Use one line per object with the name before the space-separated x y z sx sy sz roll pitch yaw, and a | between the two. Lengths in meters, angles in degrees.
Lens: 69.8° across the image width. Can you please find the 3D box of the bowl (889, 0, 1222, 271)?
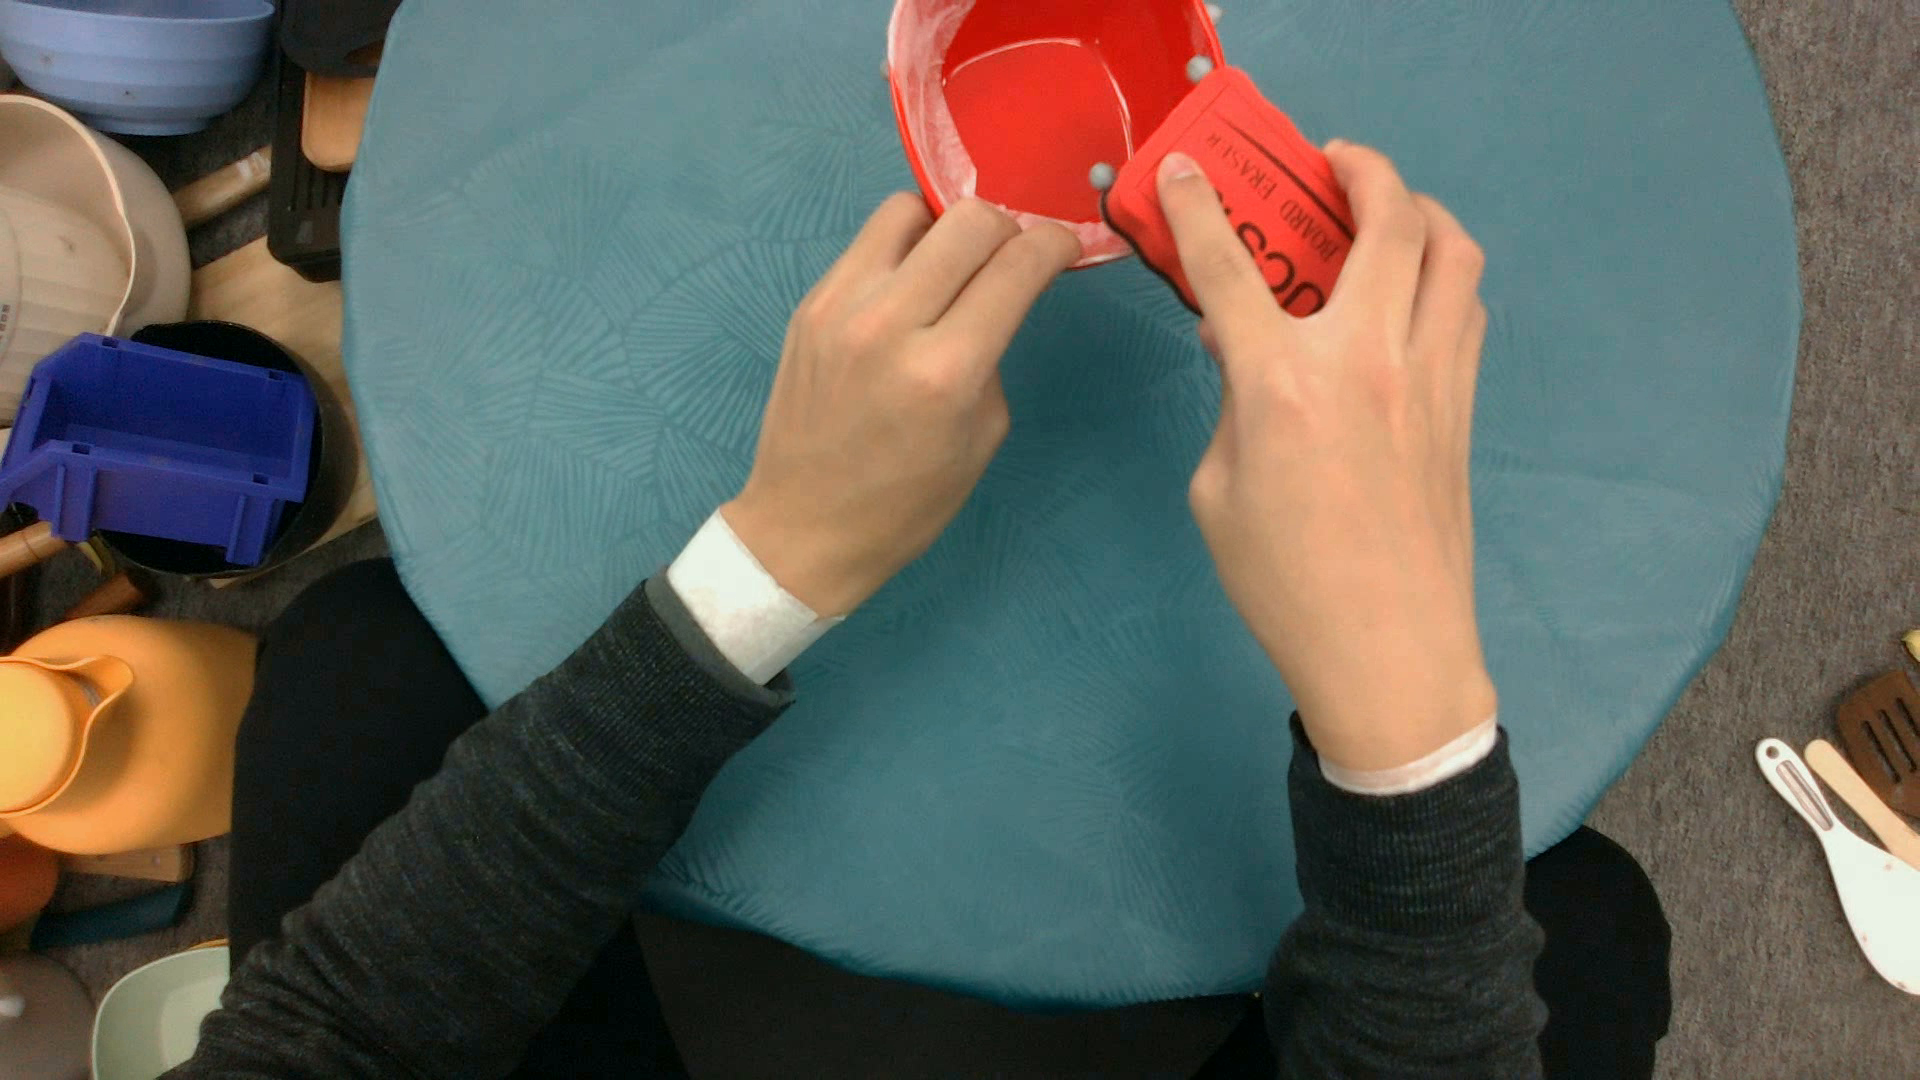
bowl | 0.030 -0.143 0.467 0.119 0.051 0.119 0 87 -11

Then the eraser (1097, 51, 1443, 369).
eraser | 0.101 -0.105 0.446 0.108 0.023 0.059 30 83 -14
